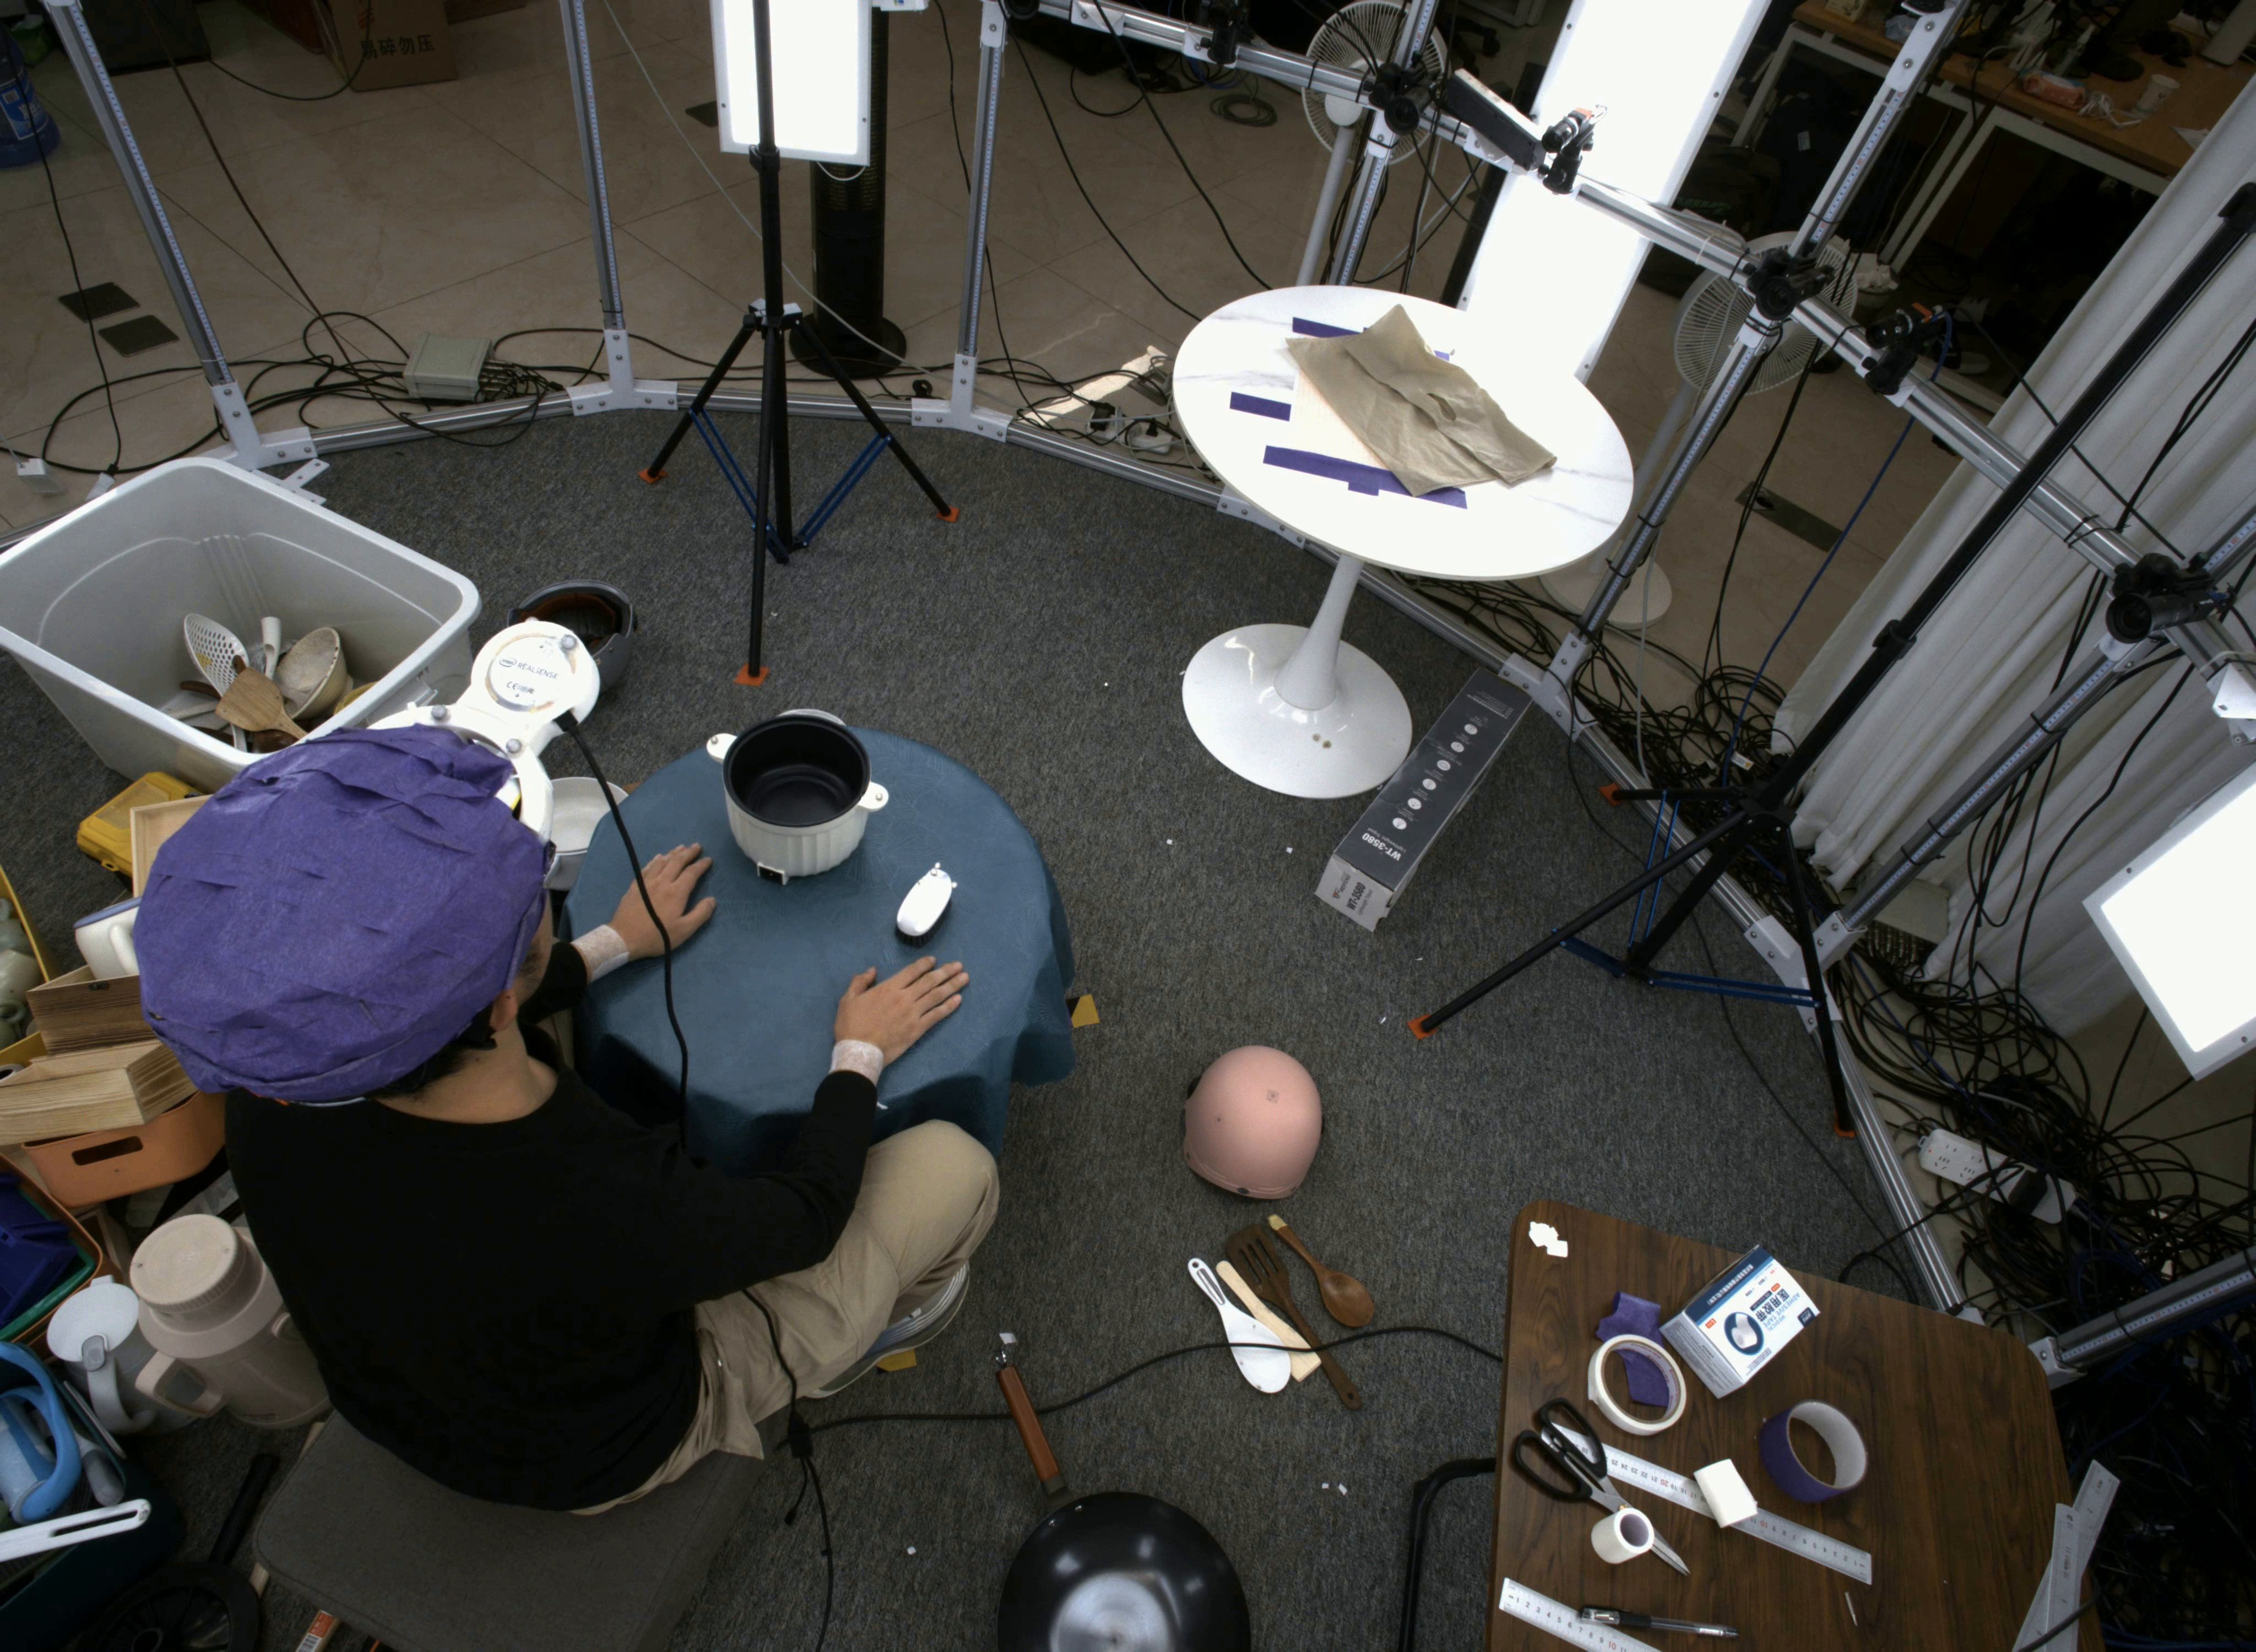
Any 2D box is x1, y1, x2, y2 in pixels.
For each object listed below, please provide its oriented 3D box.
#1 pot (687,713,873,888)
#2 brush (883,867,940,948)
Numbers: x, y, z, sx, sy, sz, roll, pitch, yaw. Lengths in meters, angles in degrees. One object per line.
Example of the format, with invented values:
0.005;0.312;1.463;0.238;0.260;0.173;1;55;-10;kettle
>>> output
-0.440;-0.036;1.652;0.239;0.145;0.188;18;54;-2;pot
-0.272;0.094;1.641;0.049;0.074;0.098;24;52;6;brush
